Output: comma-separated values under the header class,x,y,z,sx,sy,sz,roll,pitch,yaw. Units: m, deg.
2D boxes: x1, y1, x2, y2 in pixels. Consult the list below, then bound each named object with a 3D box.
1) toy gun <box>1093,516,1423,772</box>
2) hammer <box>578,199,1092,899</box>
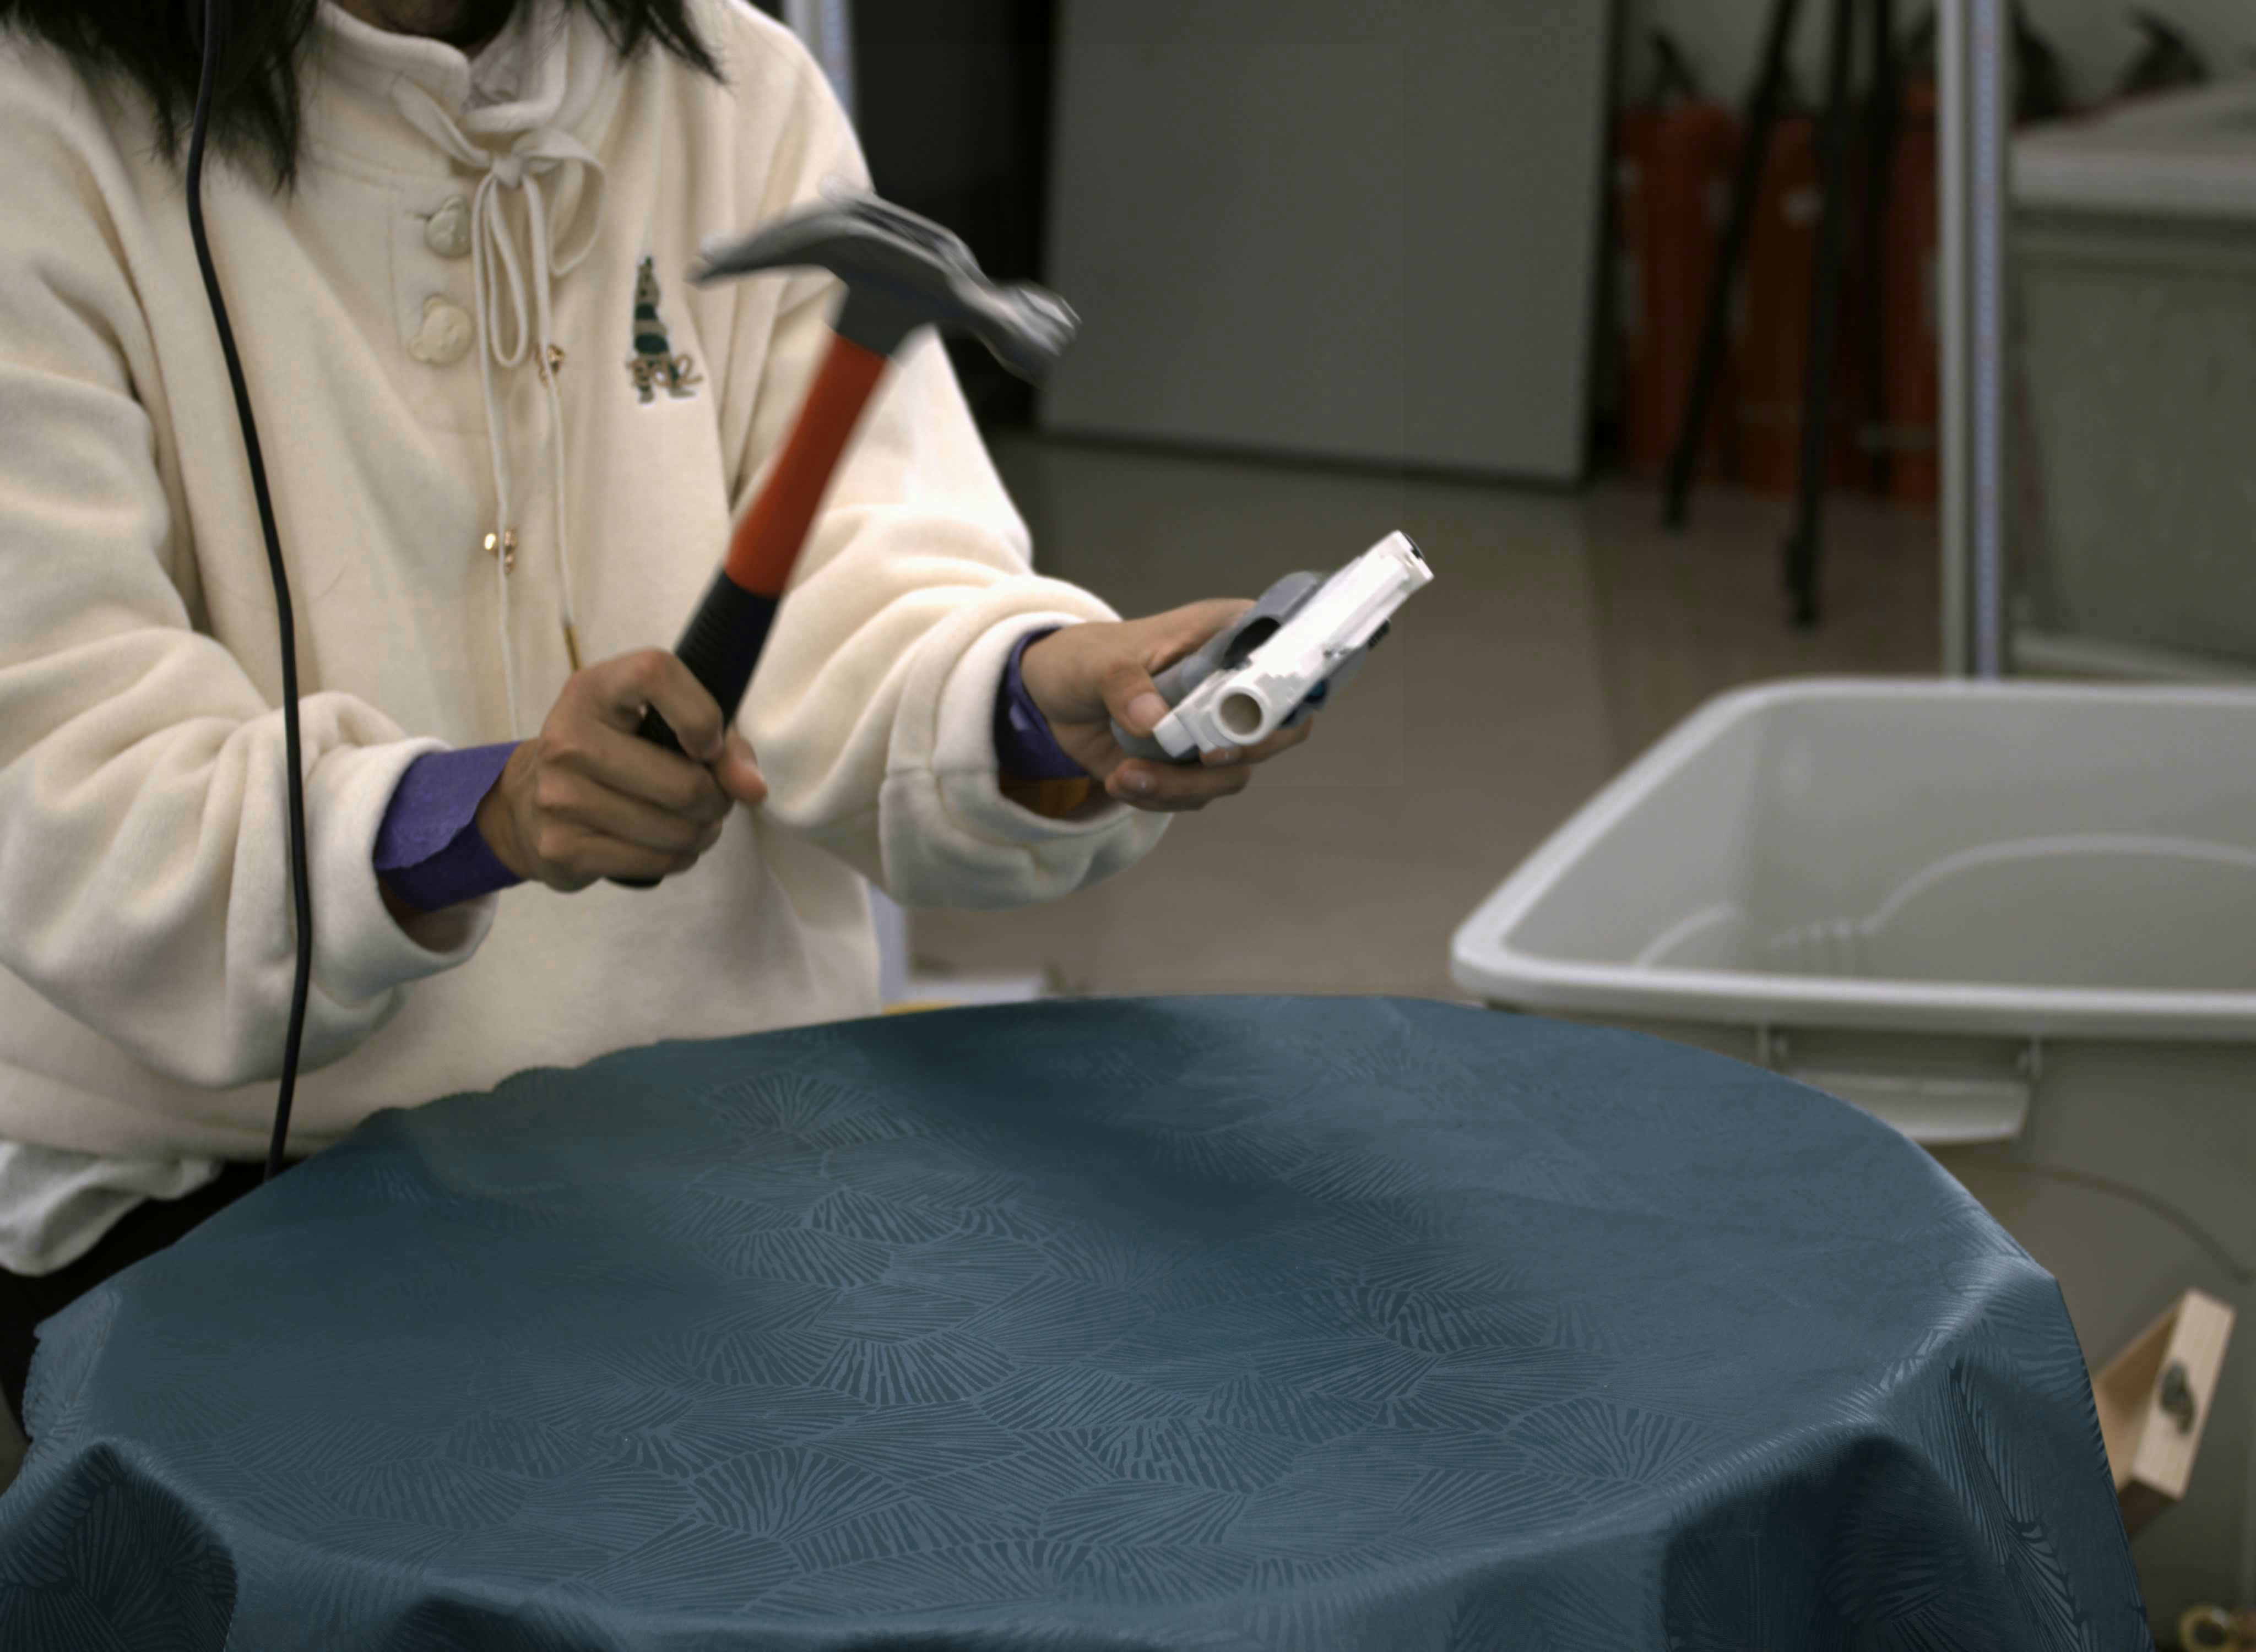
class,x,y,z,sx,sy,sz,roll,pitch,yaw
toy gun,0.028,-0.047,1.708,0.142,0.039,0.207,-34,3,25
hammer,-0.115,-0.082,1.715,0.109,0.280,0.026,22,37,-11
